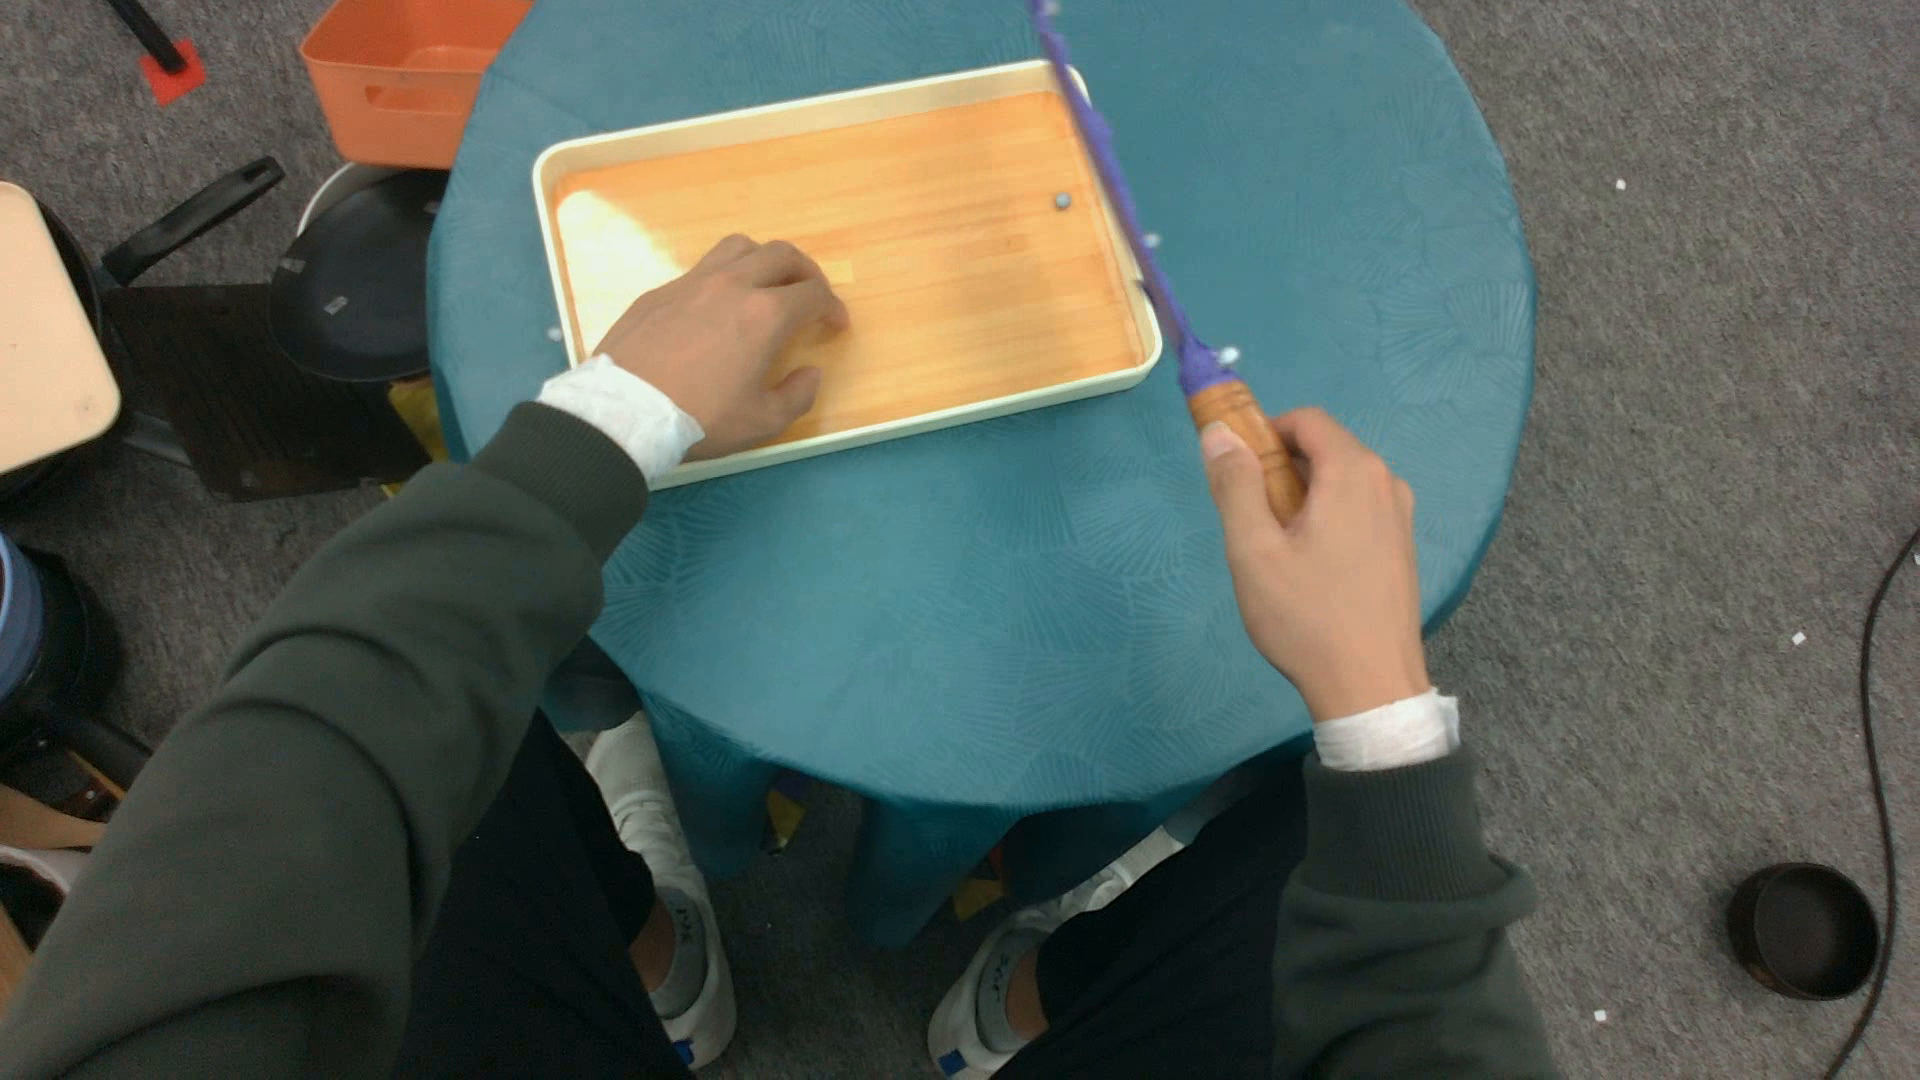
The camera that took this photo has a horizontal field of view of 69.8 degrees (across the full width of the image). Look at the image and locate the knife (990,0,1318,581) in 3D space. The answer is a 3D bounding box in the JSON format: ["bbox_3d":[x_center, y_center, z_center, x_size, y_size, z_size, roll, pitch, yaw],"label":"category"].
[{"bbox_3d":[0.081,-0.125,0.629,0.032,0.104,0.315,-25,77,8],"label":"knife"}]

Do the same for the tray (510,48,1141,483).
[{"bbox_3d":[-0.069,-0.150,0.728,0.300,0.027,0.192,-13,77,-10],"label":"tray"}]
